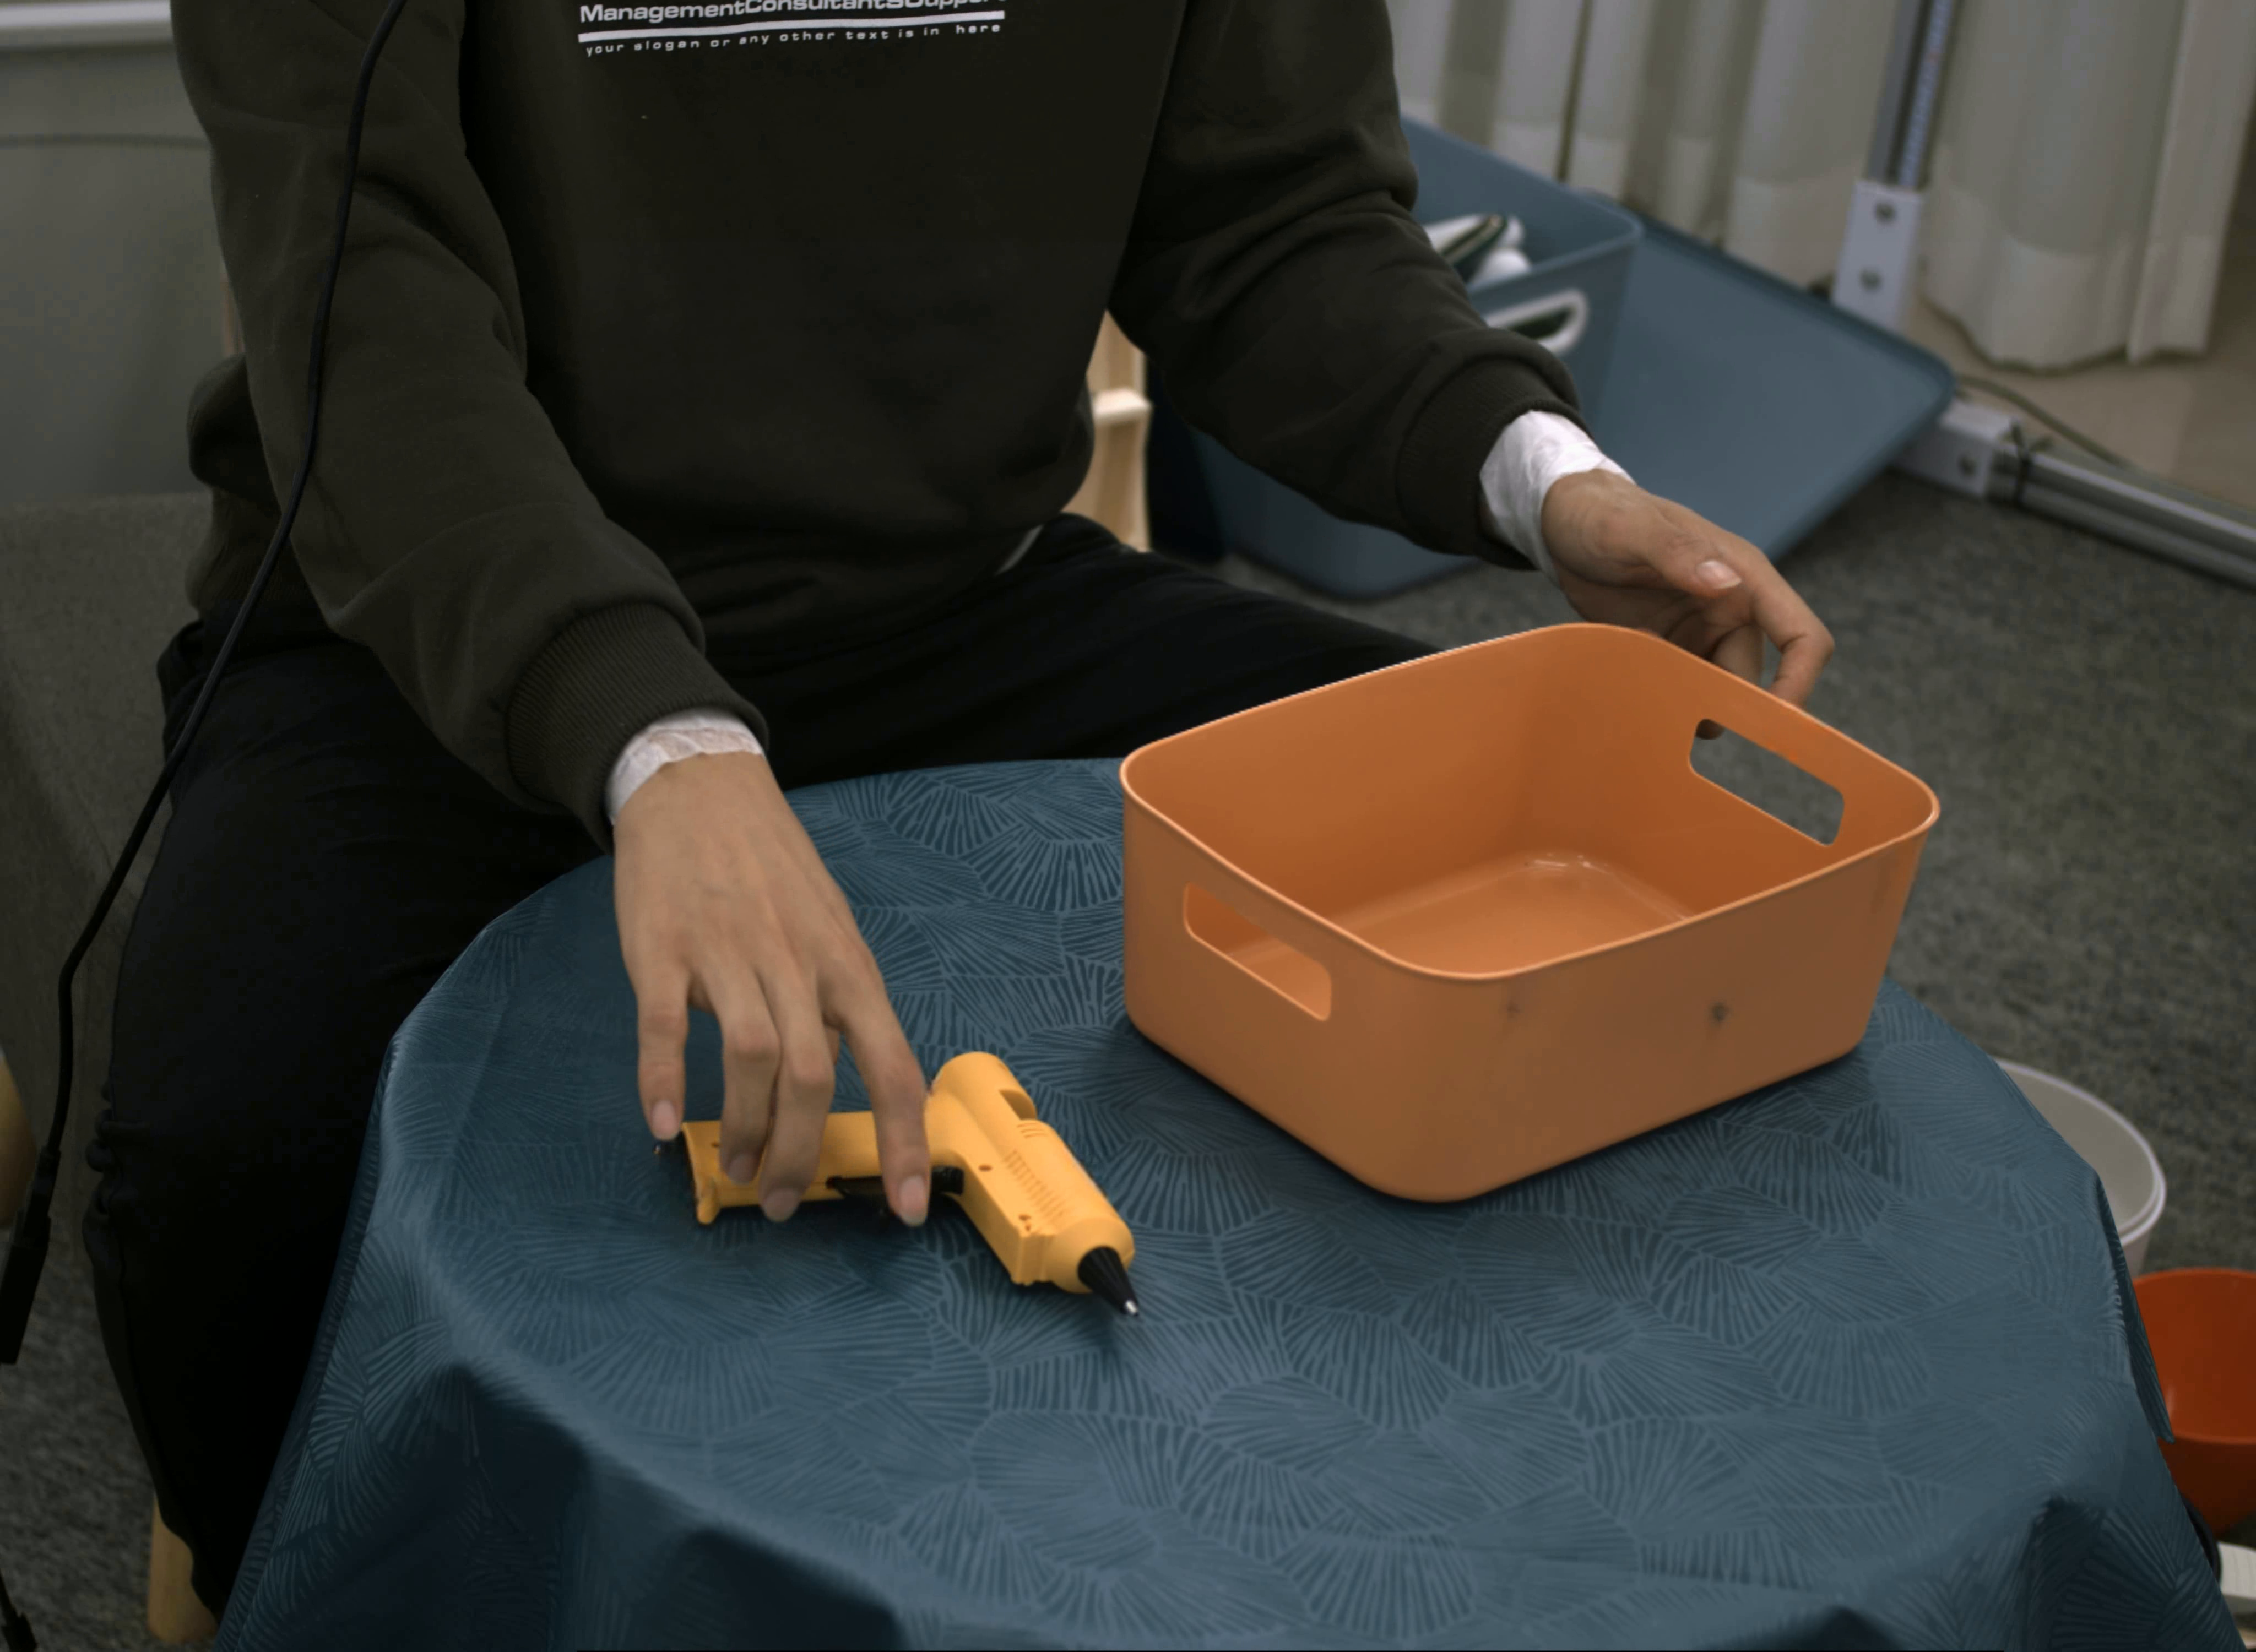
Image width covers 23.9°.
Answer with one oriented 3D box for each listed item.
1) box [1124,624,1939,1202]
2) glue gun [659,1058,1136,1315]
[{"bbox_3d":[0.139,0.030,1.914,0.272,0.102,0.201,-18,35,-38],"label":"box"},{"bbox_3d":[-0.067,0.130,1.755,0.132,0.031,0.152,-9,29,-26],"label":"glue gun"}]
